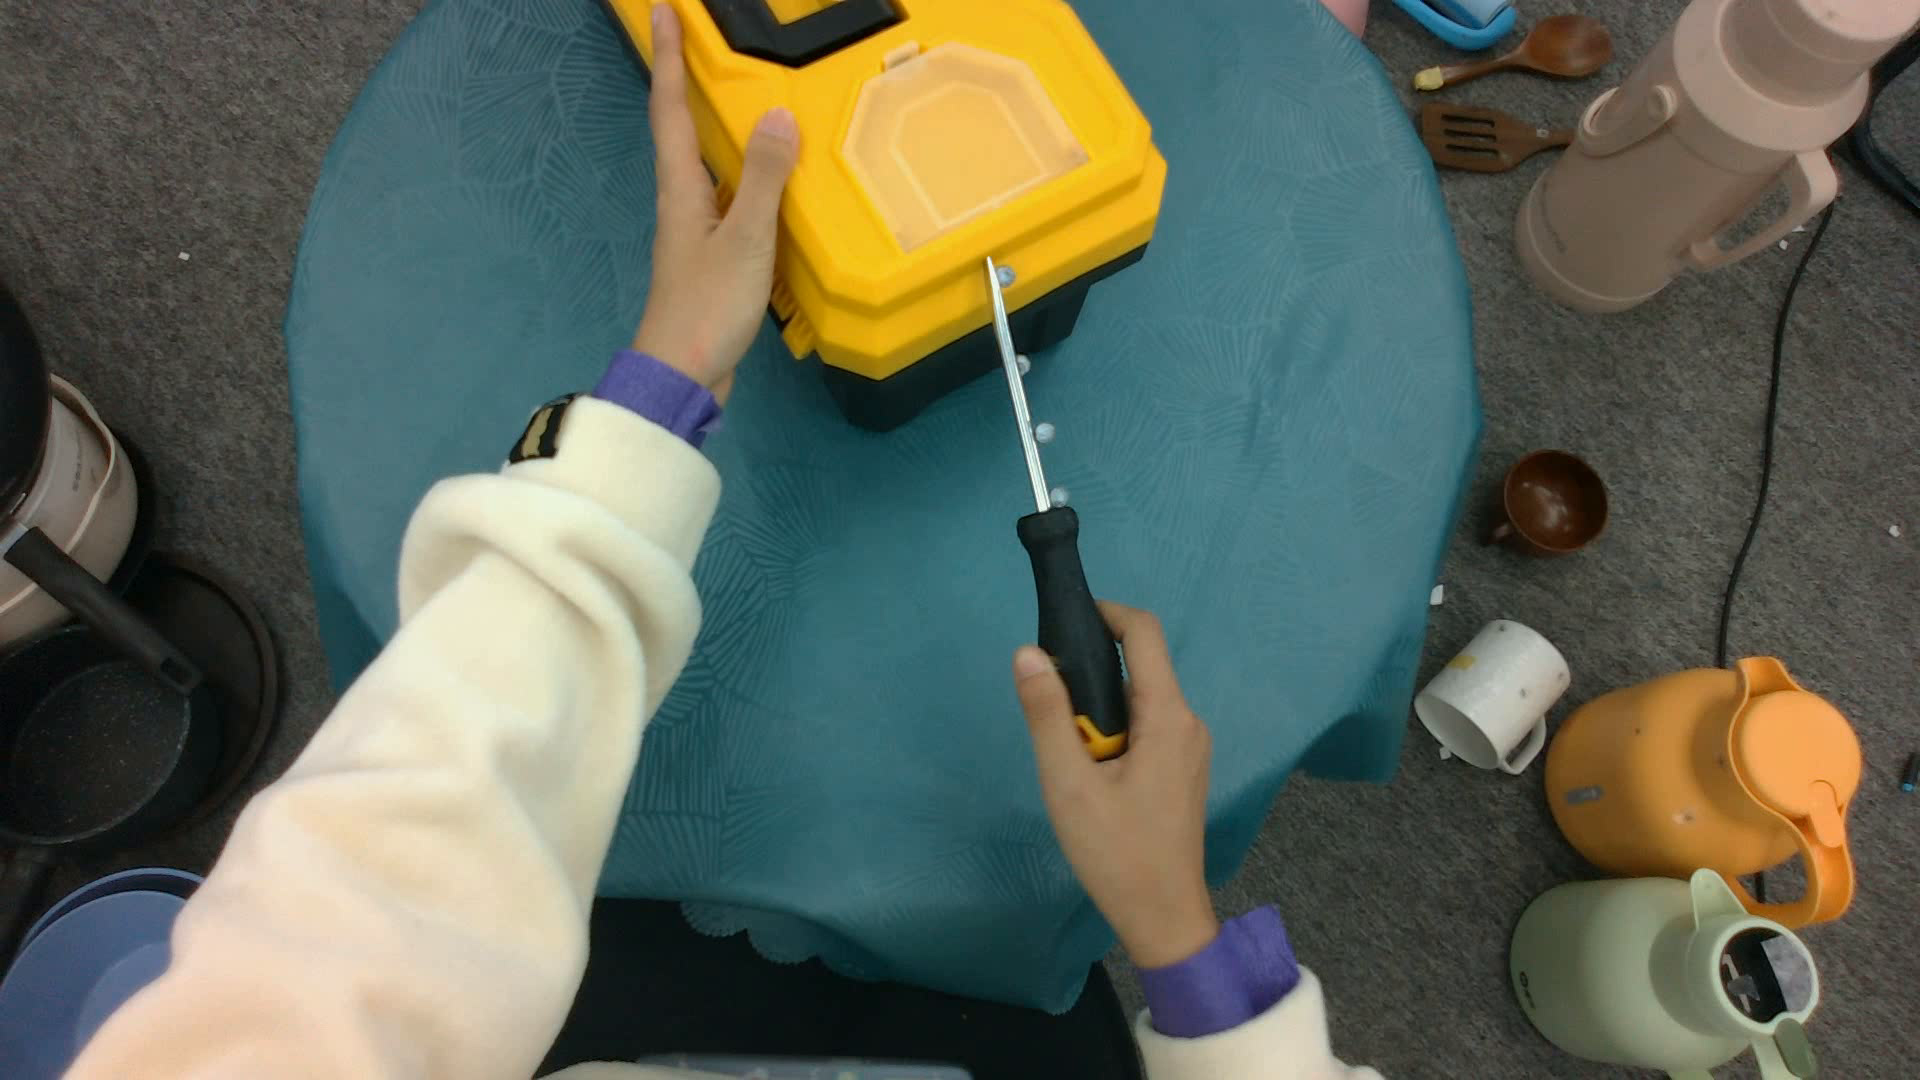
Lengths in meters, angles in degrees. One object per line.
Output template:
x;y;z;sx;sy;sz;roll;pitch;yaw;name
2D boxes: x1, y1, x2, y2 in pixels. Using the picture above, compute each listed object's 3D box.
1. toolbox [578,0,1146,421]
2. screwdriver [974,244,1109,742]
-0.075;-0.238;0.642;0.181;0.172;0.352;-29;78;-12;toolbox
0.025;-0.018;0.539;0.031;0.031;0.198;-13;88;-8;screwdriver
